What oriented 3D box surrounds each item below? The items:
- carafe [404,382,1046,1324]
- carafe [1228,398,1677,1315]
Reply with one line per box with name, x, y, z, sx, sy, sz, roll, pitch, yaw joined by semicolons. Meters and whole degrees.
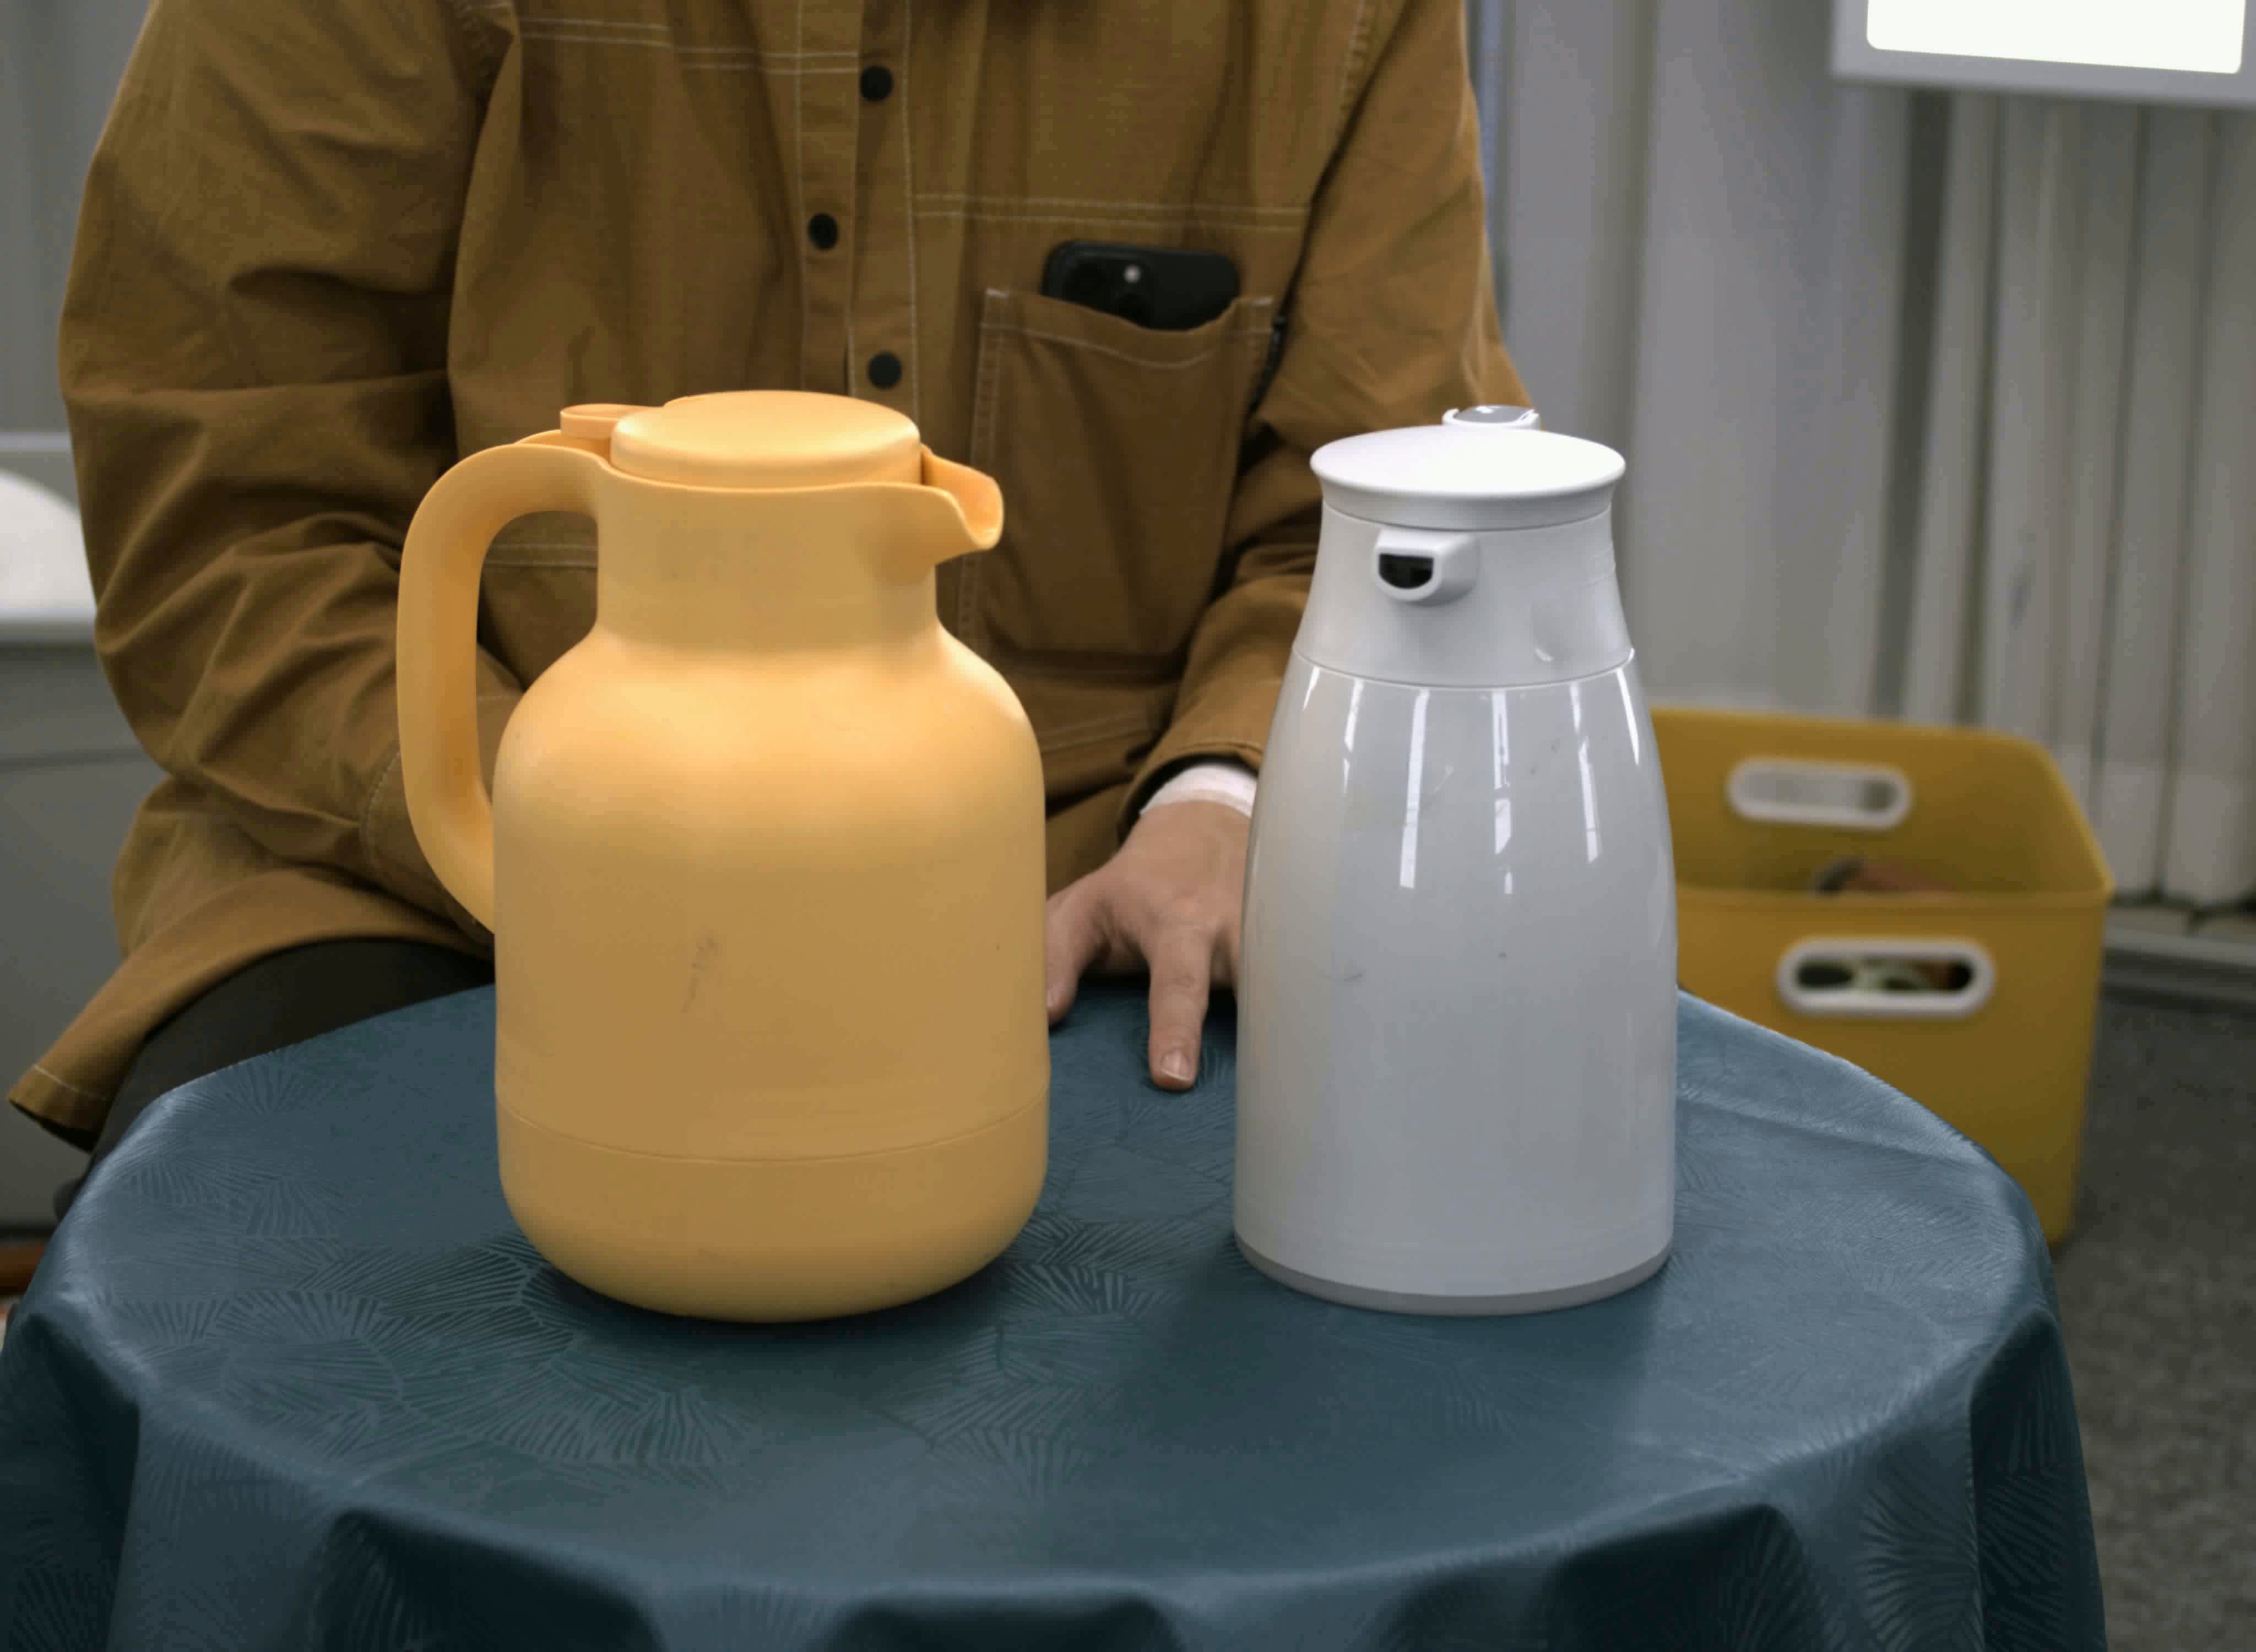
carafe;-0.120;0.001;1.534;0.200;0.262;0.164;10;17;27
carafe;0.102;0.000;1.564;0.131;0.250;0.168;5;16;17
